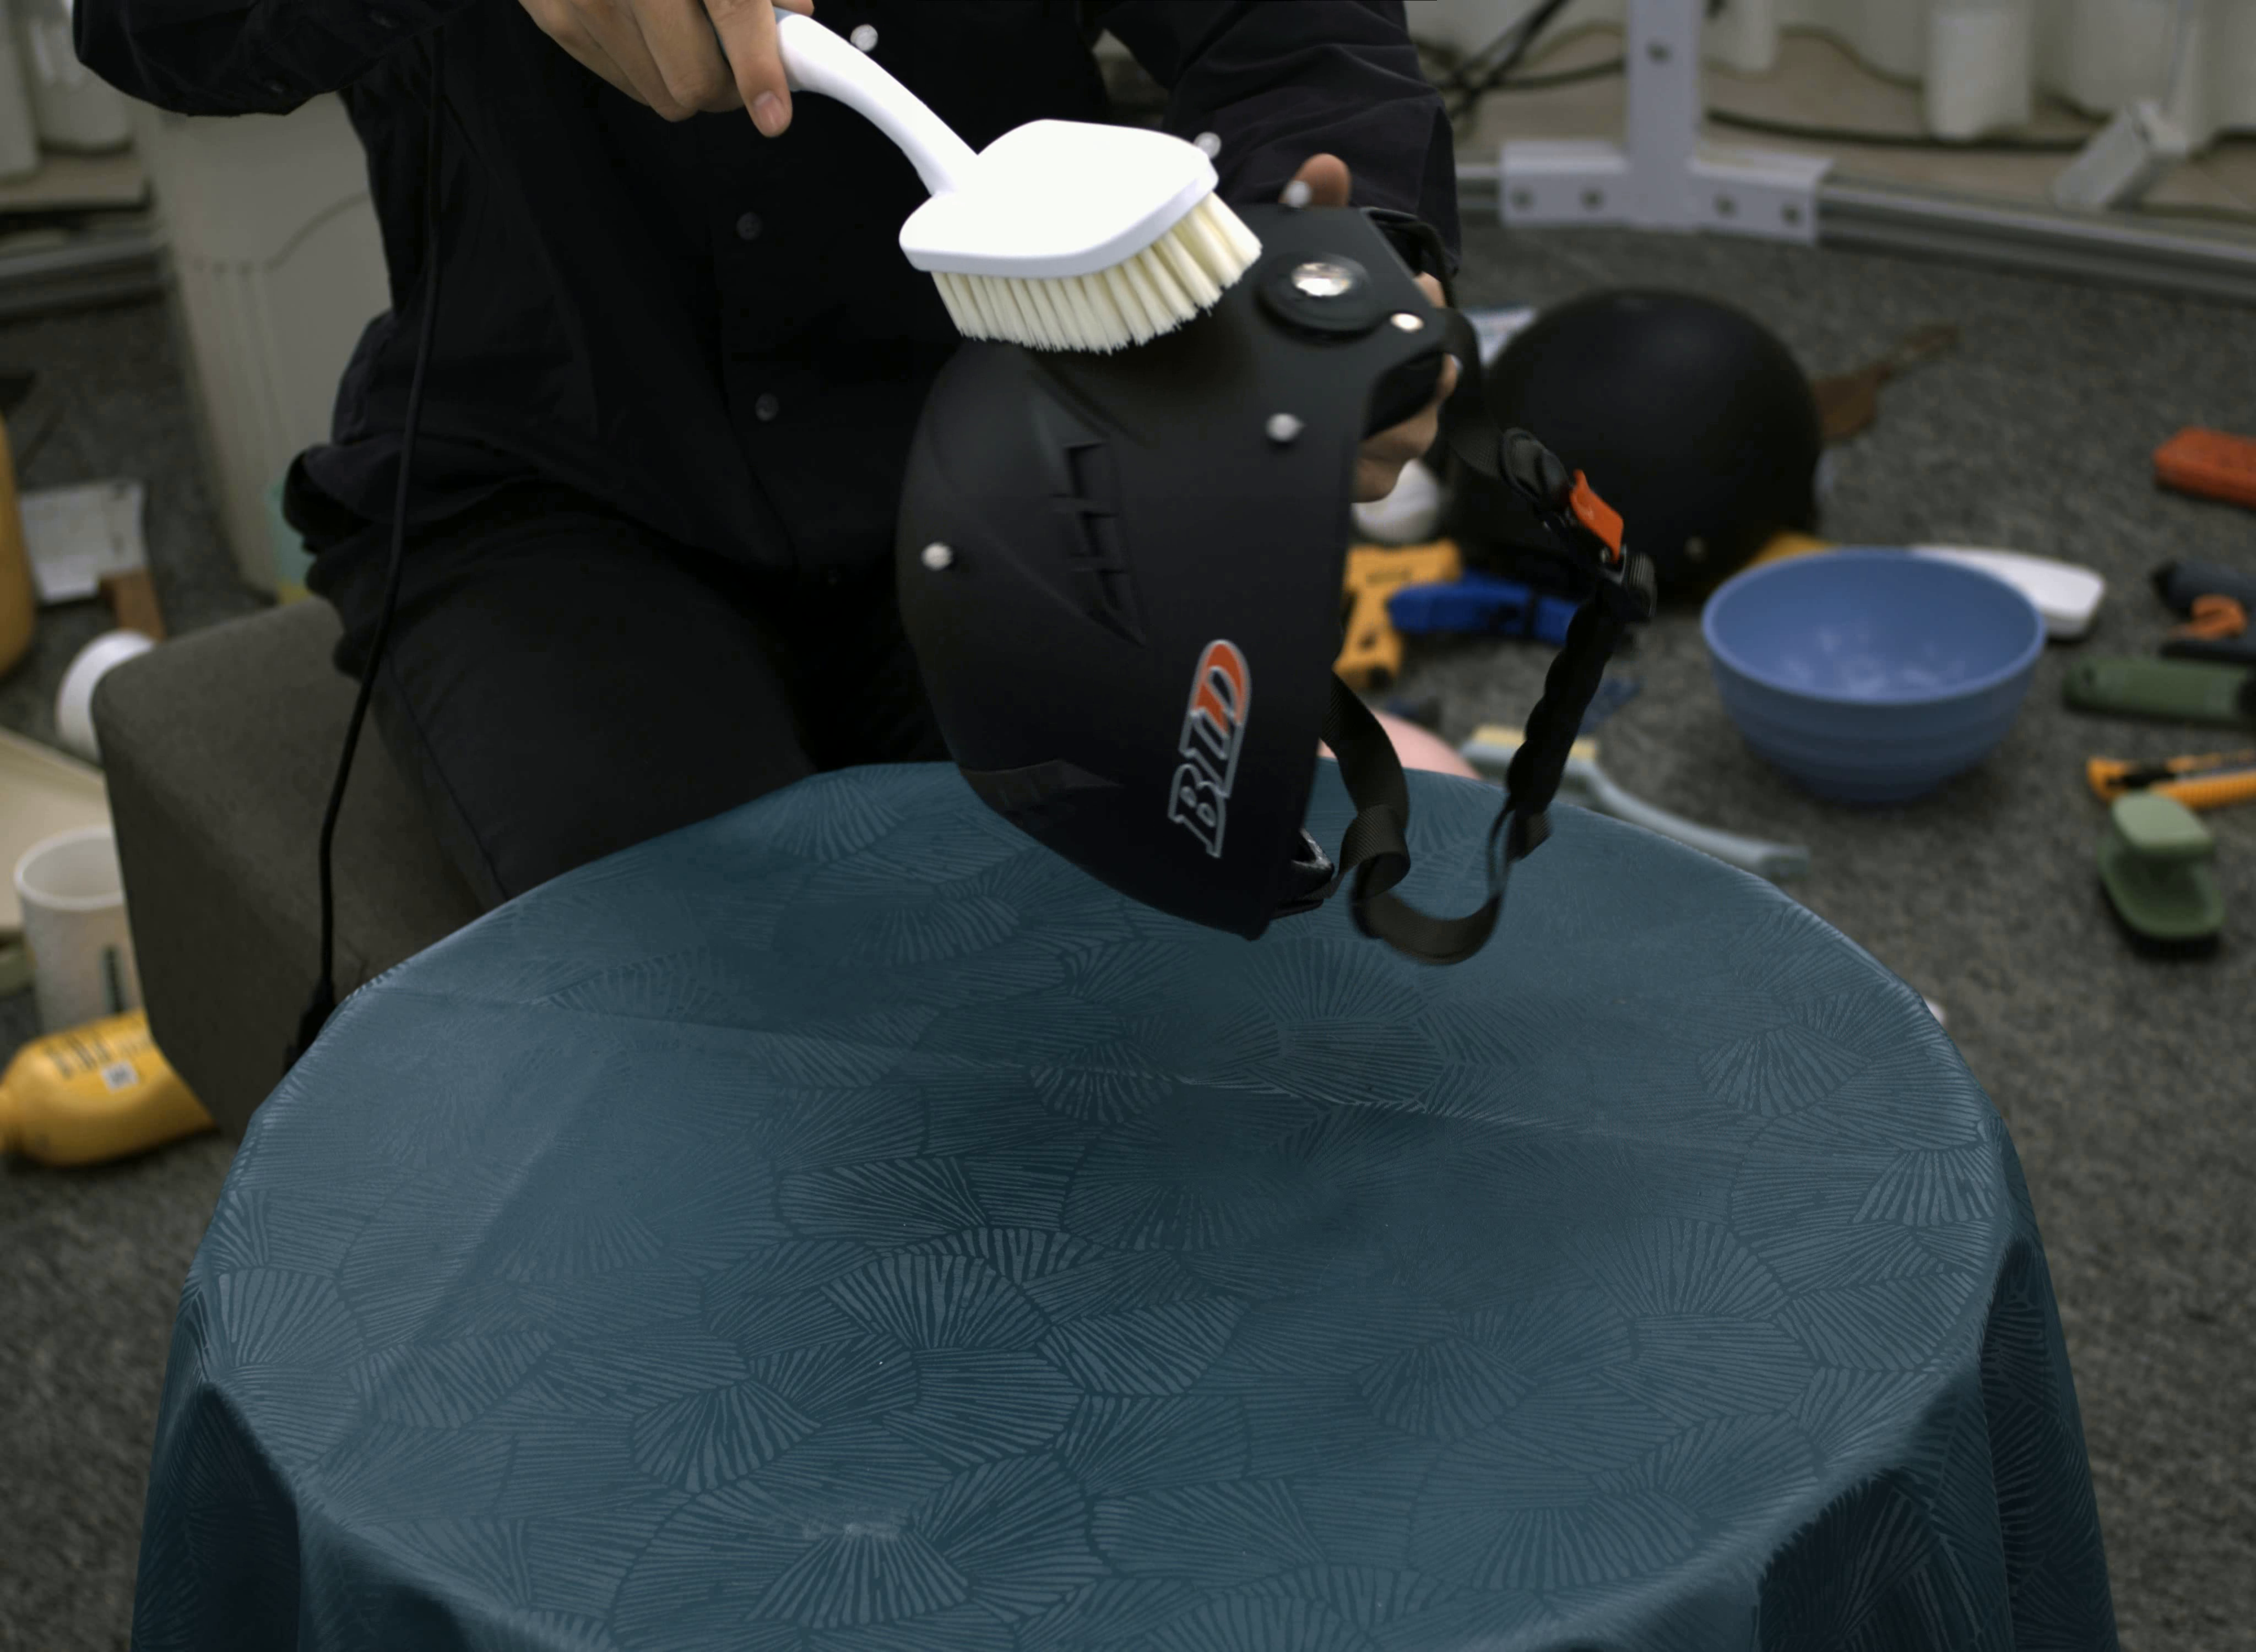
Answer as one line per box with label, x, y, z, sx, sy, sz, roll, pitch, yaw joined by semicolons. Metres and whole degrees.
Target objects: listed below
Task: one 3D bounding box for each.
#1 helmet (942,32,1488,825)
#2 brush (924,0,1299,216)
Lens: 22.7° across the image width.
helmet;0.025;-0.137;1.835;0.172;0.243;0.281;9;30;-4
brush;-0.060;-0.256;1.832;0.083;0.084;0.325;-6;22;-44
